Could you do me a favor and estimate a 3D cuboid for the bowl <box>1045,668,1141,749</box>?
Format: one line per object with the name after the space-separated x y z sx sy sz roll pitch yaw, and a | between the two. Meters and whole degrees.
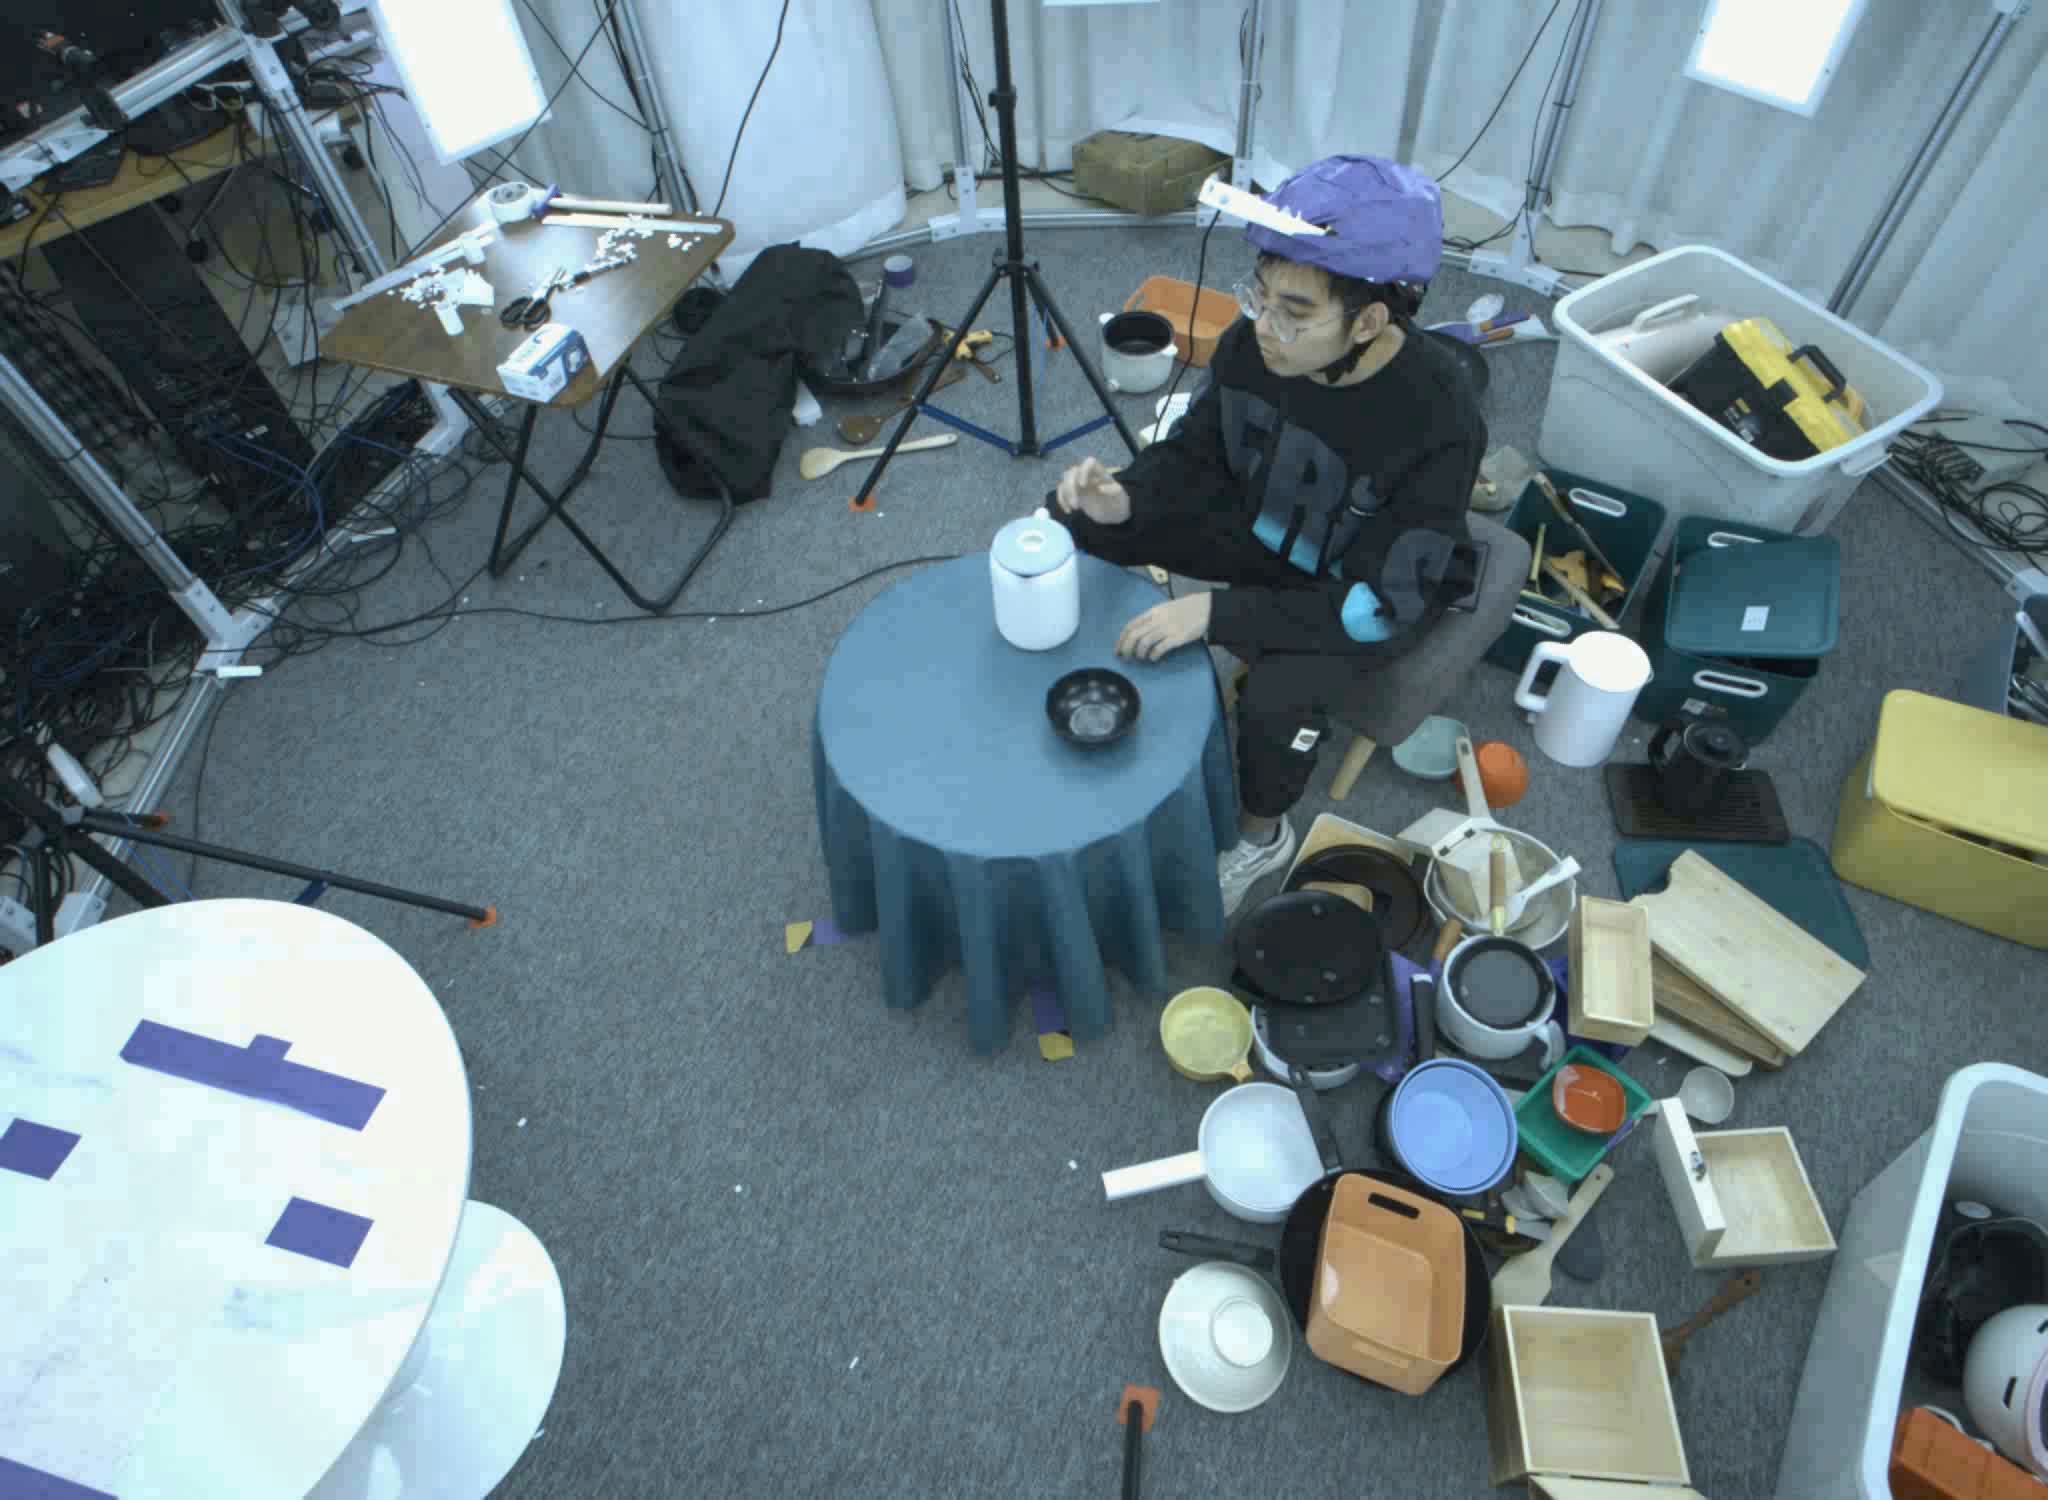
0.100 -0.052 1.787 0.140 0.050 0.138 0 53 1 | bowl

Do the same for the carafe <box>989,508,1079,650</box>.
0.018 -0.271 1.870 0.132 0.184 0.189 4 53 5 | carafe
